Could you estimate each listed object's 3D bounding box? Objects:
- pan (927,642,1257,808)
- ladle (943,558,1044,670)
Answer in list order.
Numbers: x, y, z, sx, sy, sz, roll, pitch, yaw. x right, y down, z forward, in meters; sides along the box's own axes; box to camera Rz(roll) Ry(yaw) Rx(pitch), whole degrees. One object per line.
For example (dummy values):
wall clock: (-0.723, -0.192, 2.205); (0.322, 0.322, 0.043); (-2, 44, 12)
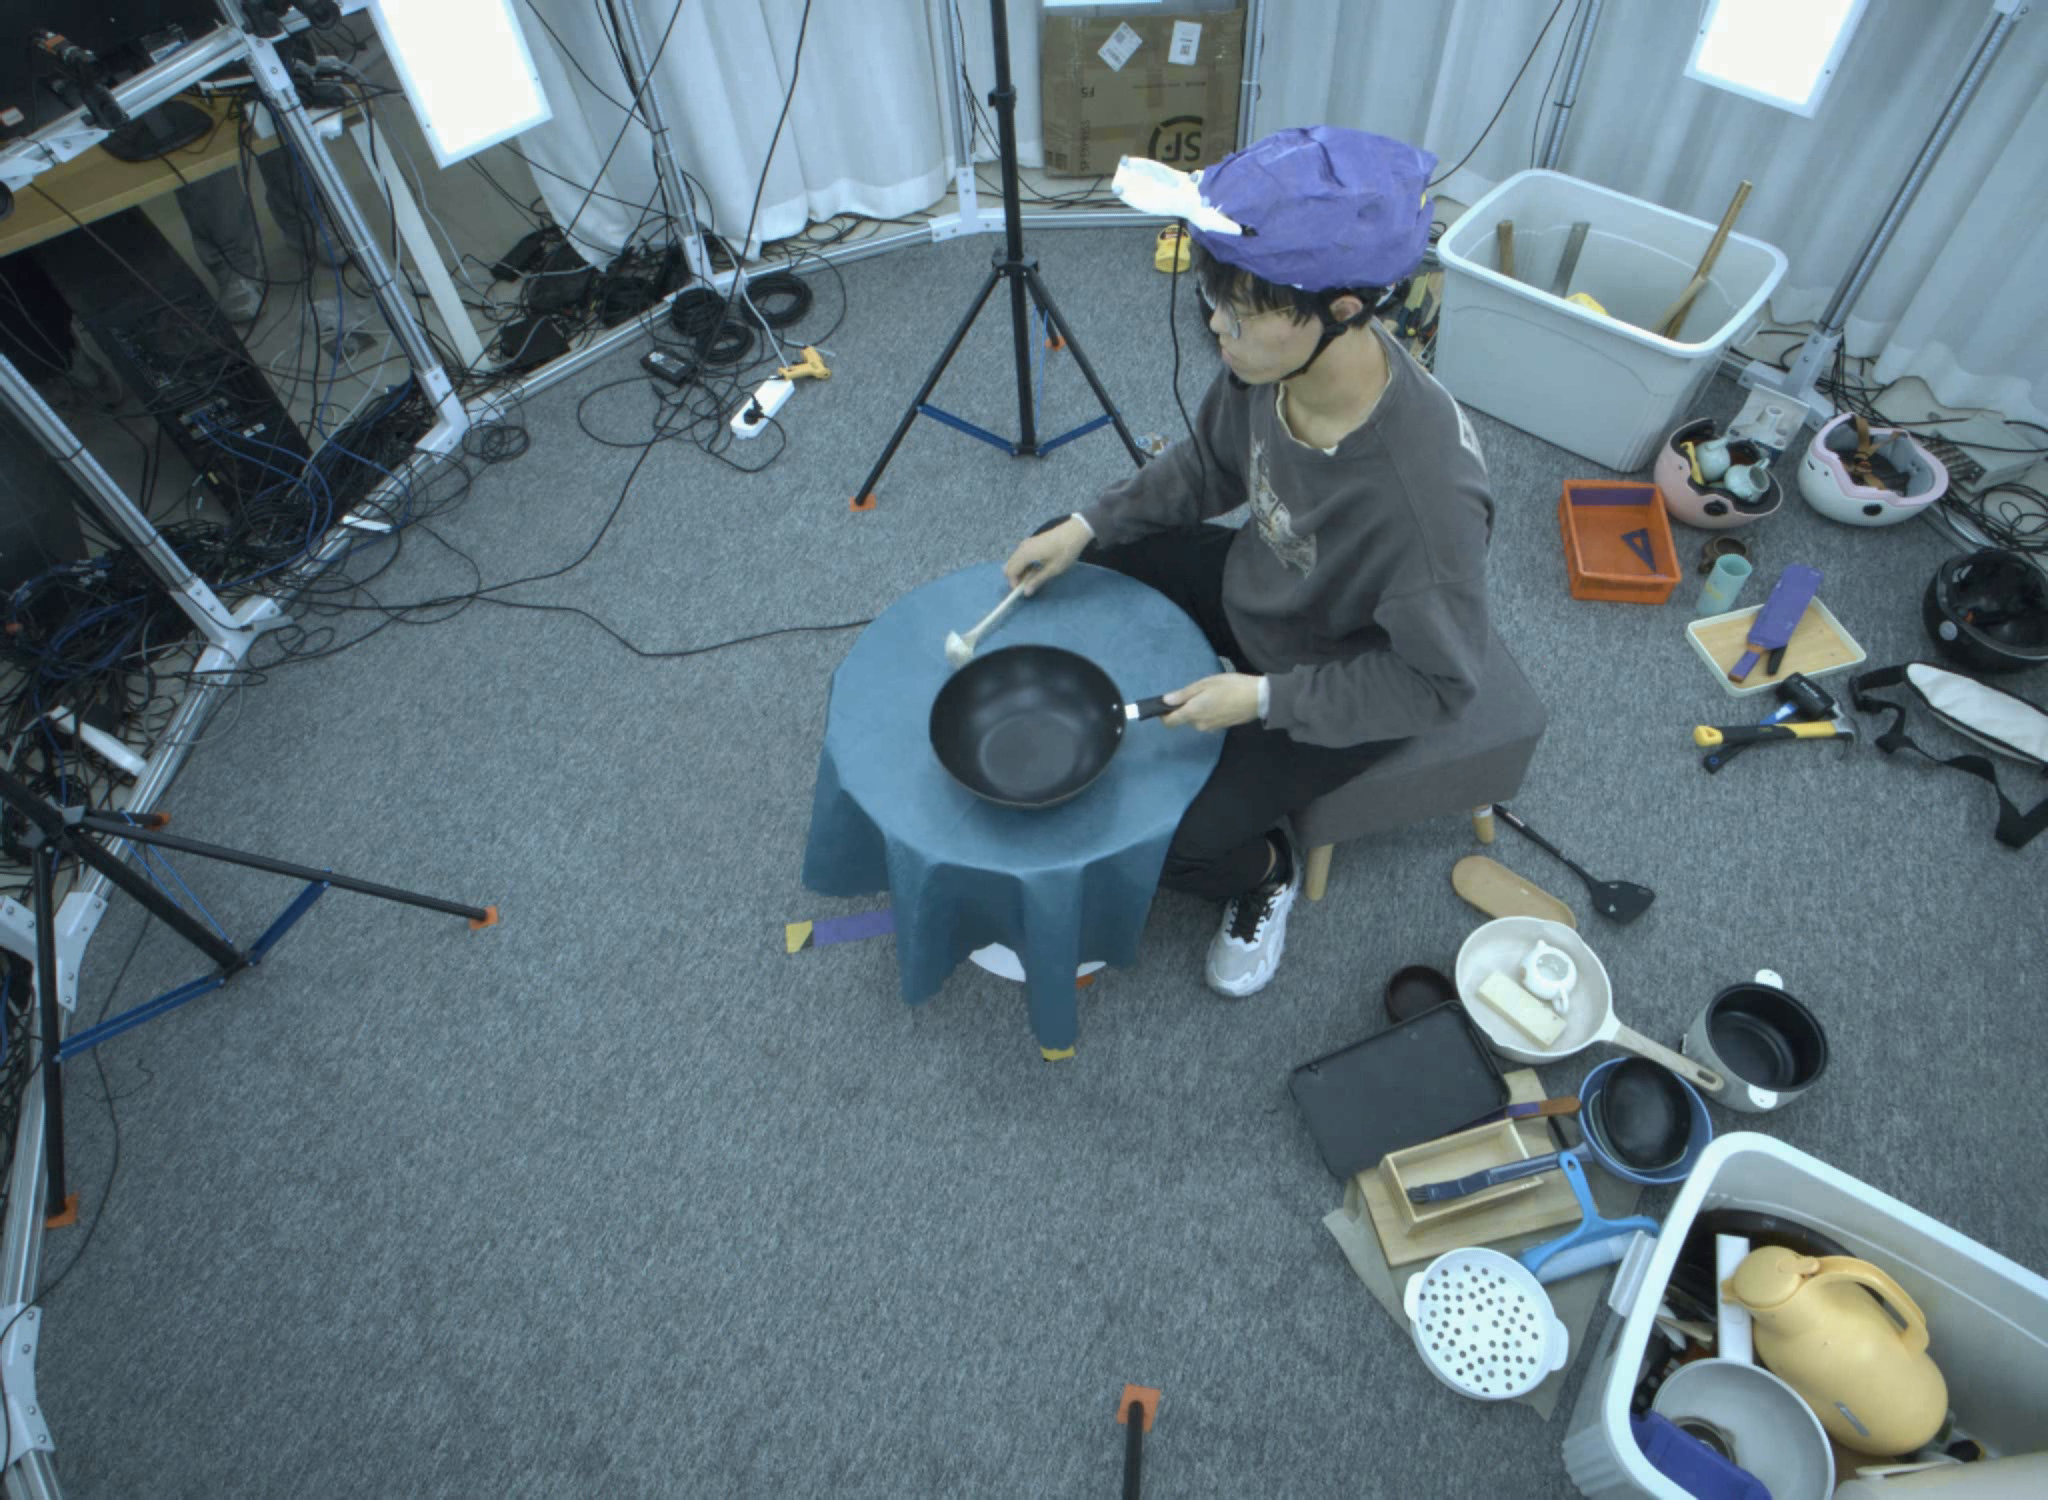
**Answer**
pan: (0.096, -0.033, 1.752); (0.464, 0.088, 0.284); (-6, 54, -3)
ladle: (-0.032, -0.222, 1.892); (0.073, 0.072, 0.255); (43, 66, -11)
